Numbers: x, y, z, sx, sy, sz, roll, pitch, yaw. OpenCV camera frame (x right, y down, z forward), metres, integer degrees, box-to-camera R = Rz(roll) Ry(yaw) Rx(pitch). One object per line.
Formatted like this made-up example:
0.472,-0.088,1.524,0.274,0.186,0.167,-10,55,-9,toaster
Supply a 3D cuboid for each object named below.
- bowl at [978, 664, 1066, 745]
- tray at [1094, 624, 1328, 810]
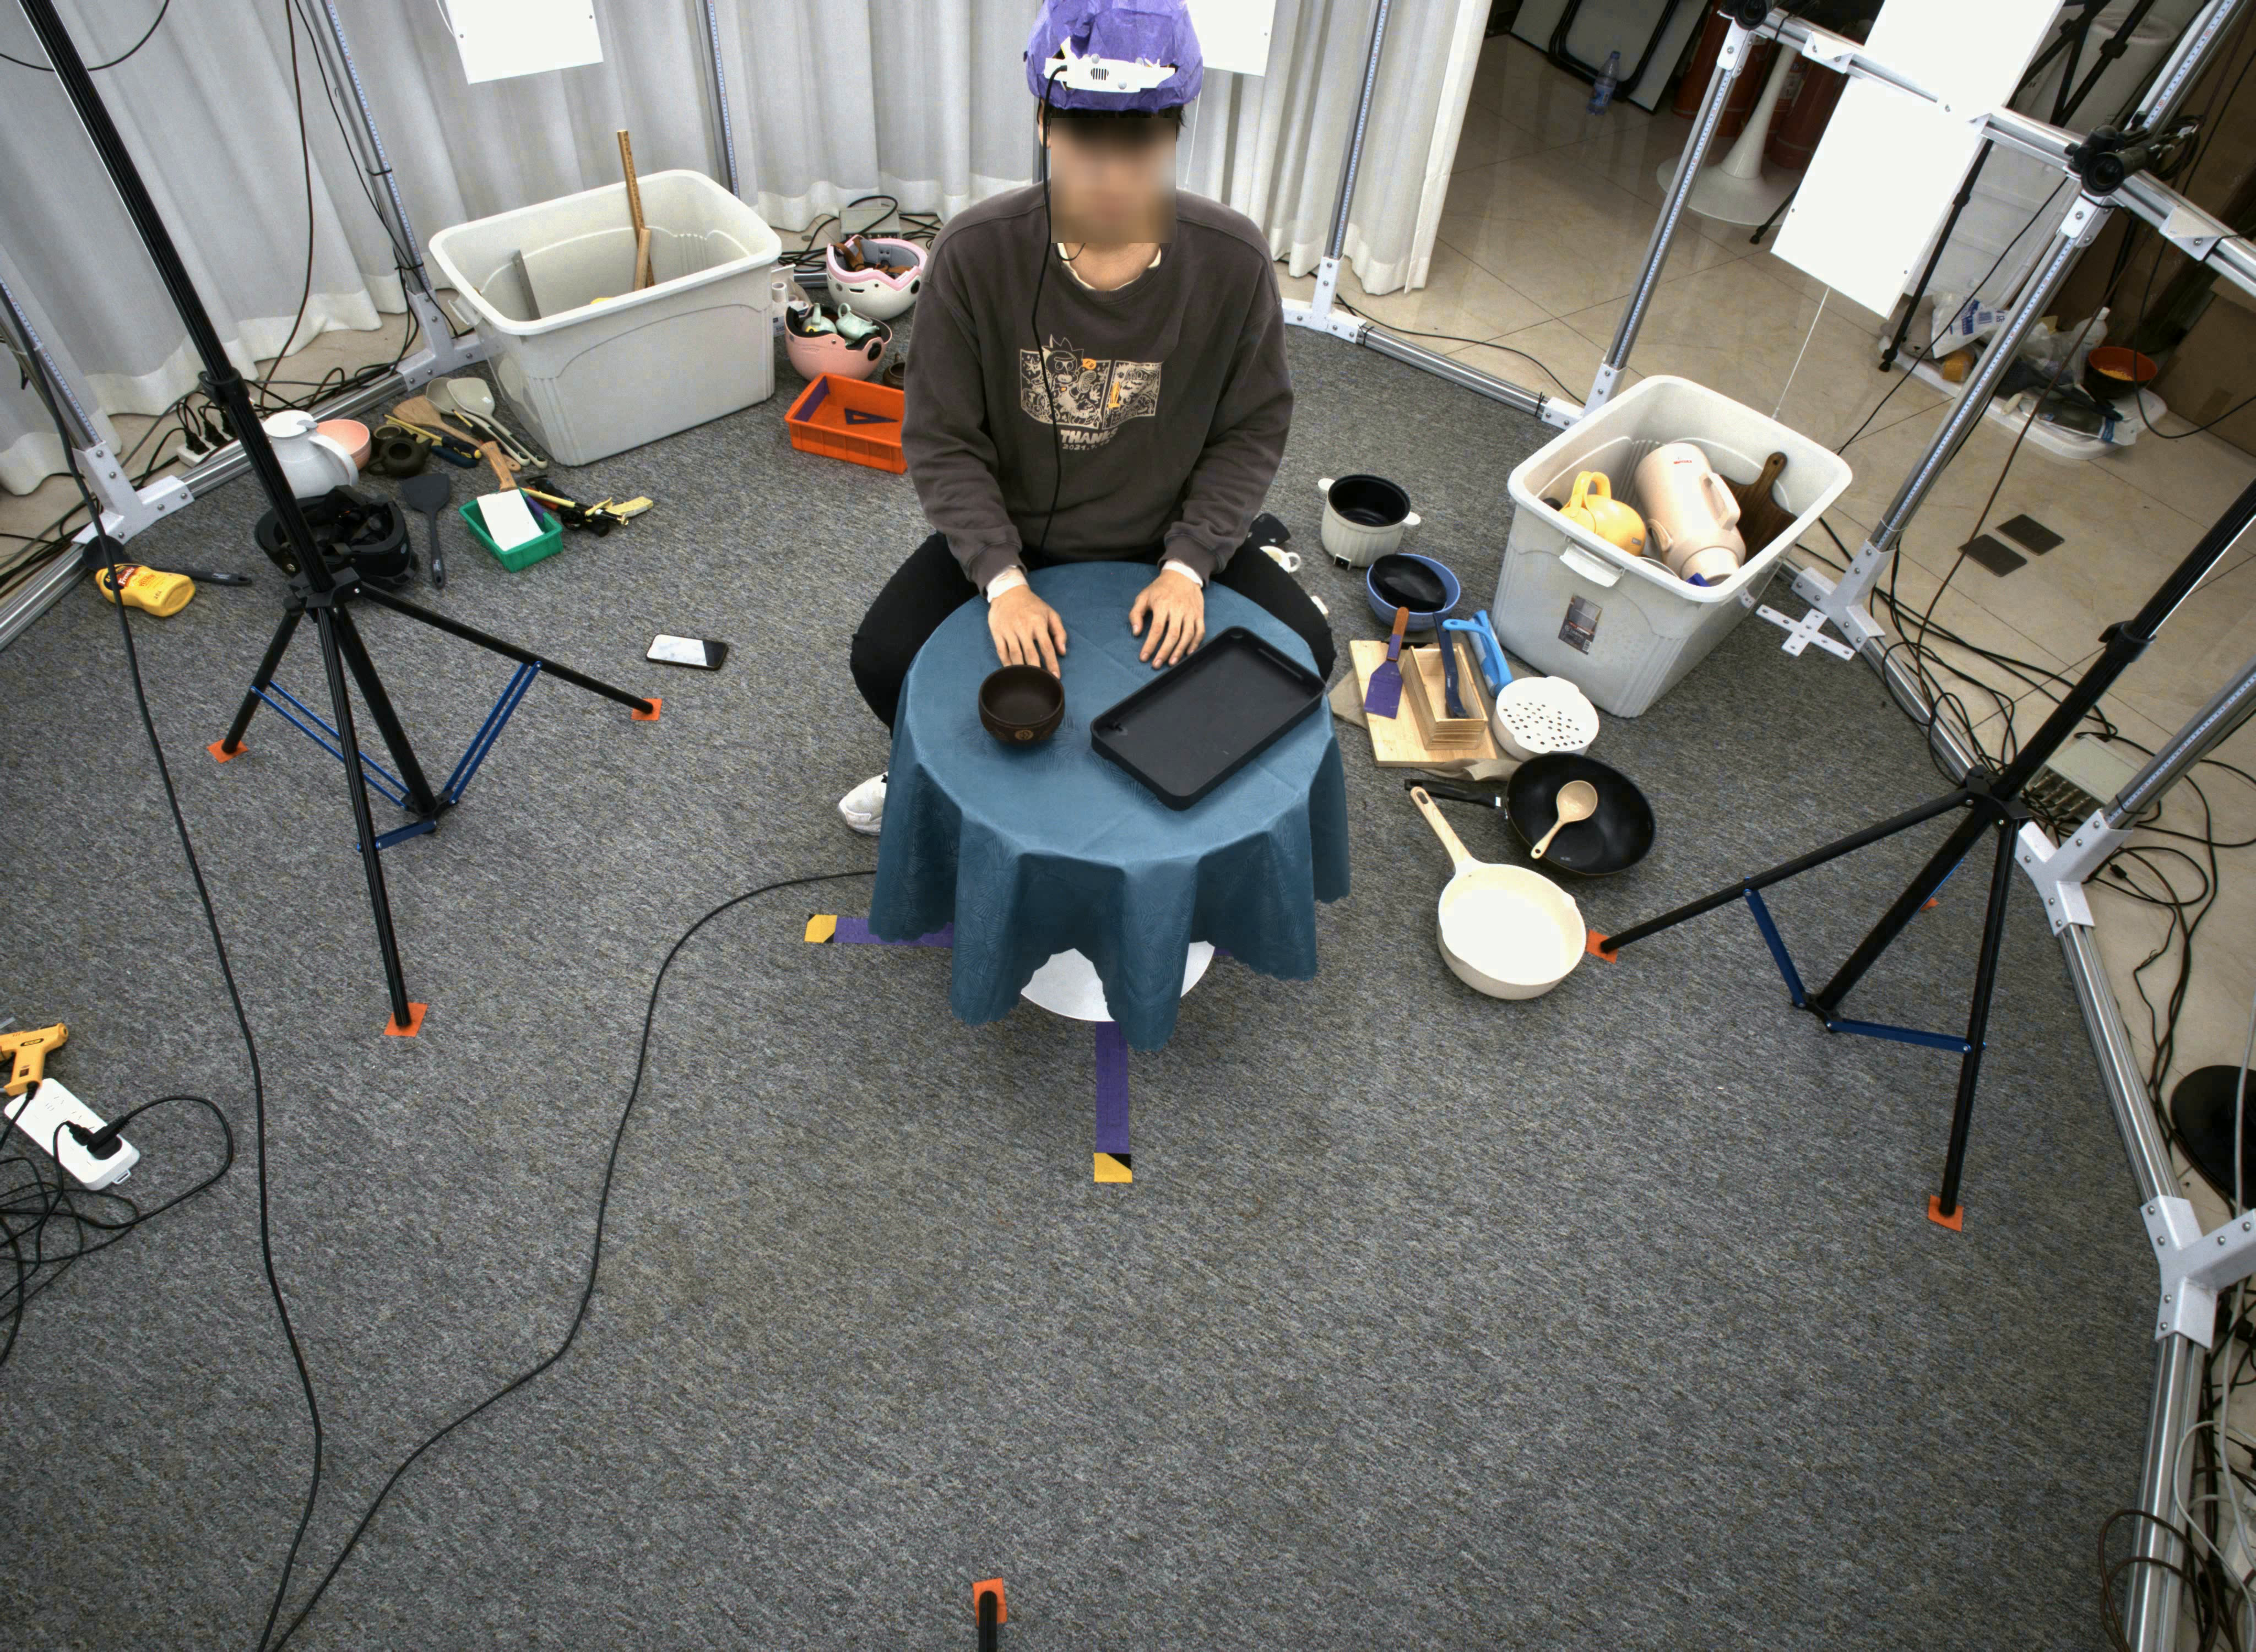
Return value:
-0.144,-0.157,1.747,0.118,0.068,0.121,1,47,-2,bowl
0.118,-0.158,1.788,0.187,0.036,0.321,36,56,25,tray
